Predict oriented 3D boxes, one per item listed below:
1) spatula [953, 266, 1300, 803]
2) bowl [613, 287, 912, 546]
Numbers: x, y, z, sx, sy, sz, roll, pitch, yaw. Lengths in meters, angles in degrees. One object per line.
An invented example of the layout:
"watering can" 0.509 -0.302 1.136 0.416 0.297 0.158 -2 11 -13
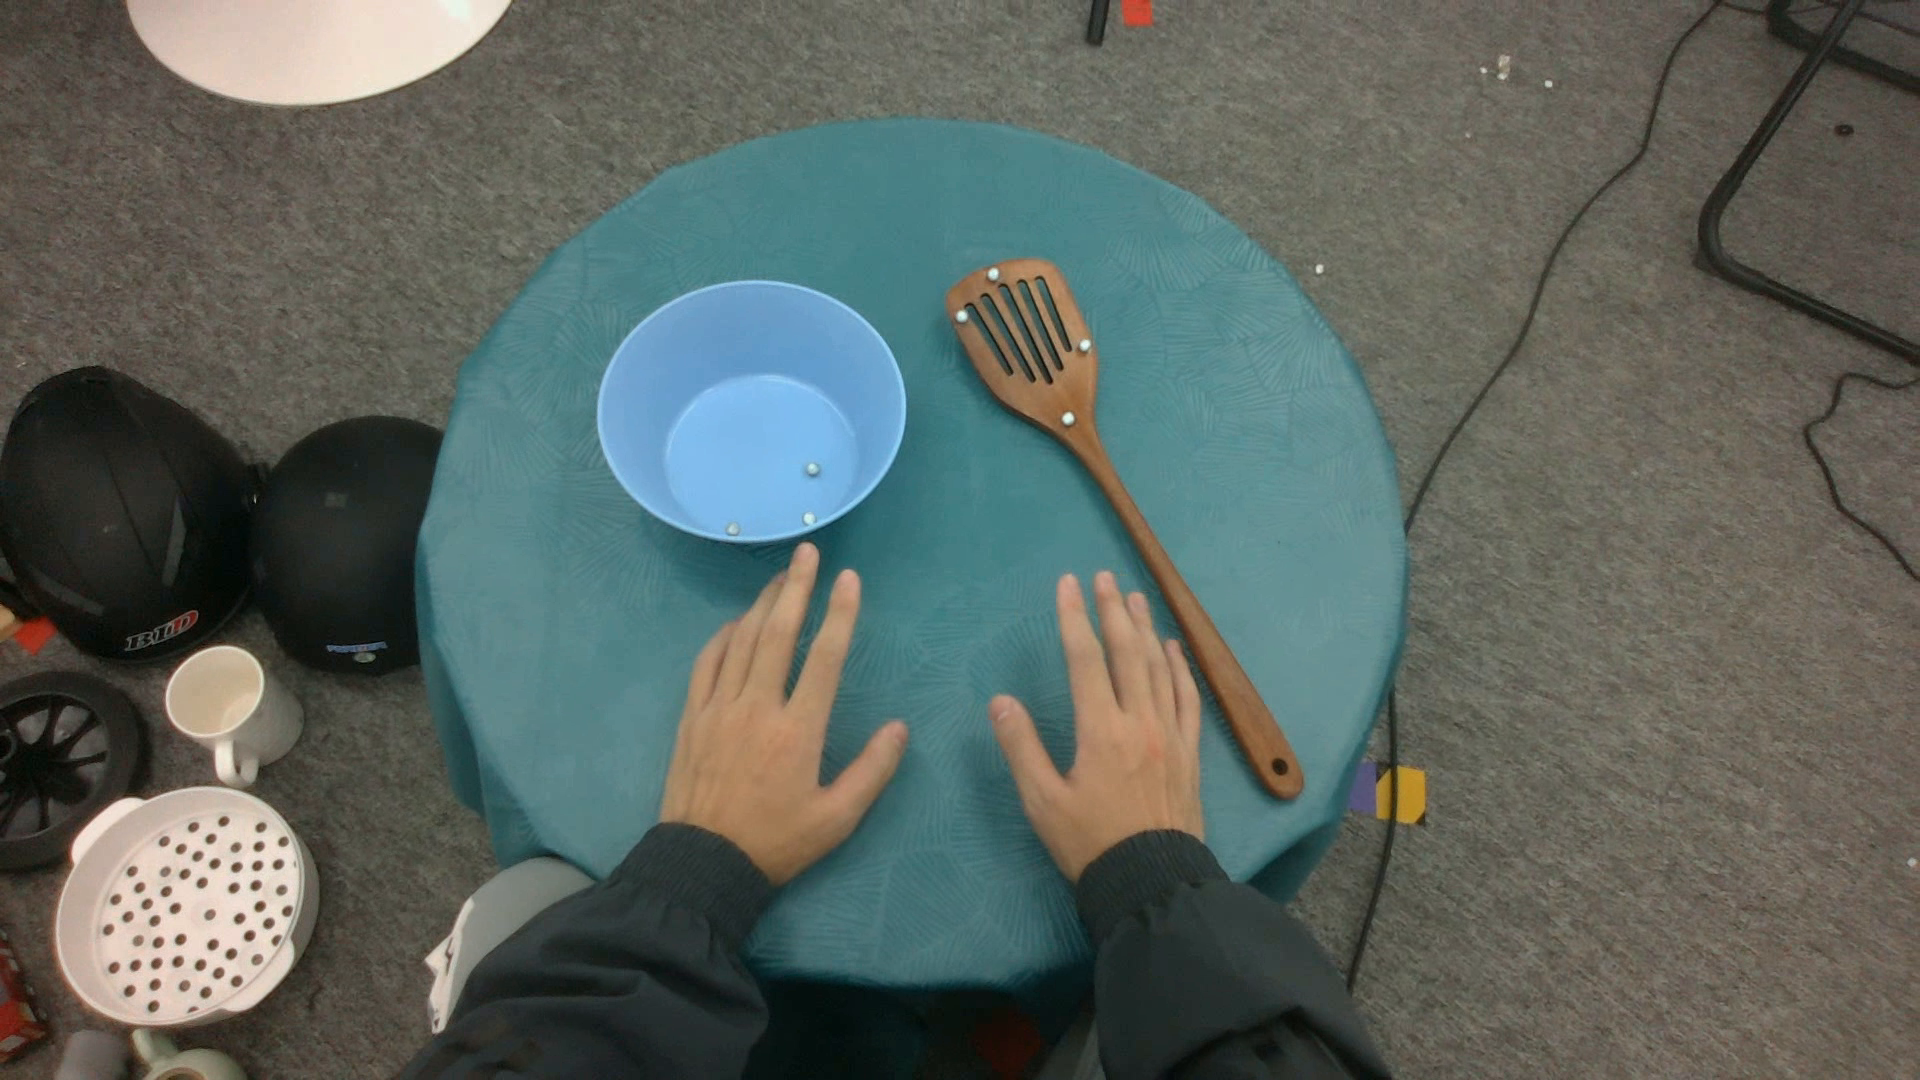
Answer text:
"spatula" 0.107 -0.012 0.852 0.085 0.024 0.387 -22 68 -13
"bowl" -0.117 -0.063 0.838 0.176 0.070 0.176 1 64 -2
